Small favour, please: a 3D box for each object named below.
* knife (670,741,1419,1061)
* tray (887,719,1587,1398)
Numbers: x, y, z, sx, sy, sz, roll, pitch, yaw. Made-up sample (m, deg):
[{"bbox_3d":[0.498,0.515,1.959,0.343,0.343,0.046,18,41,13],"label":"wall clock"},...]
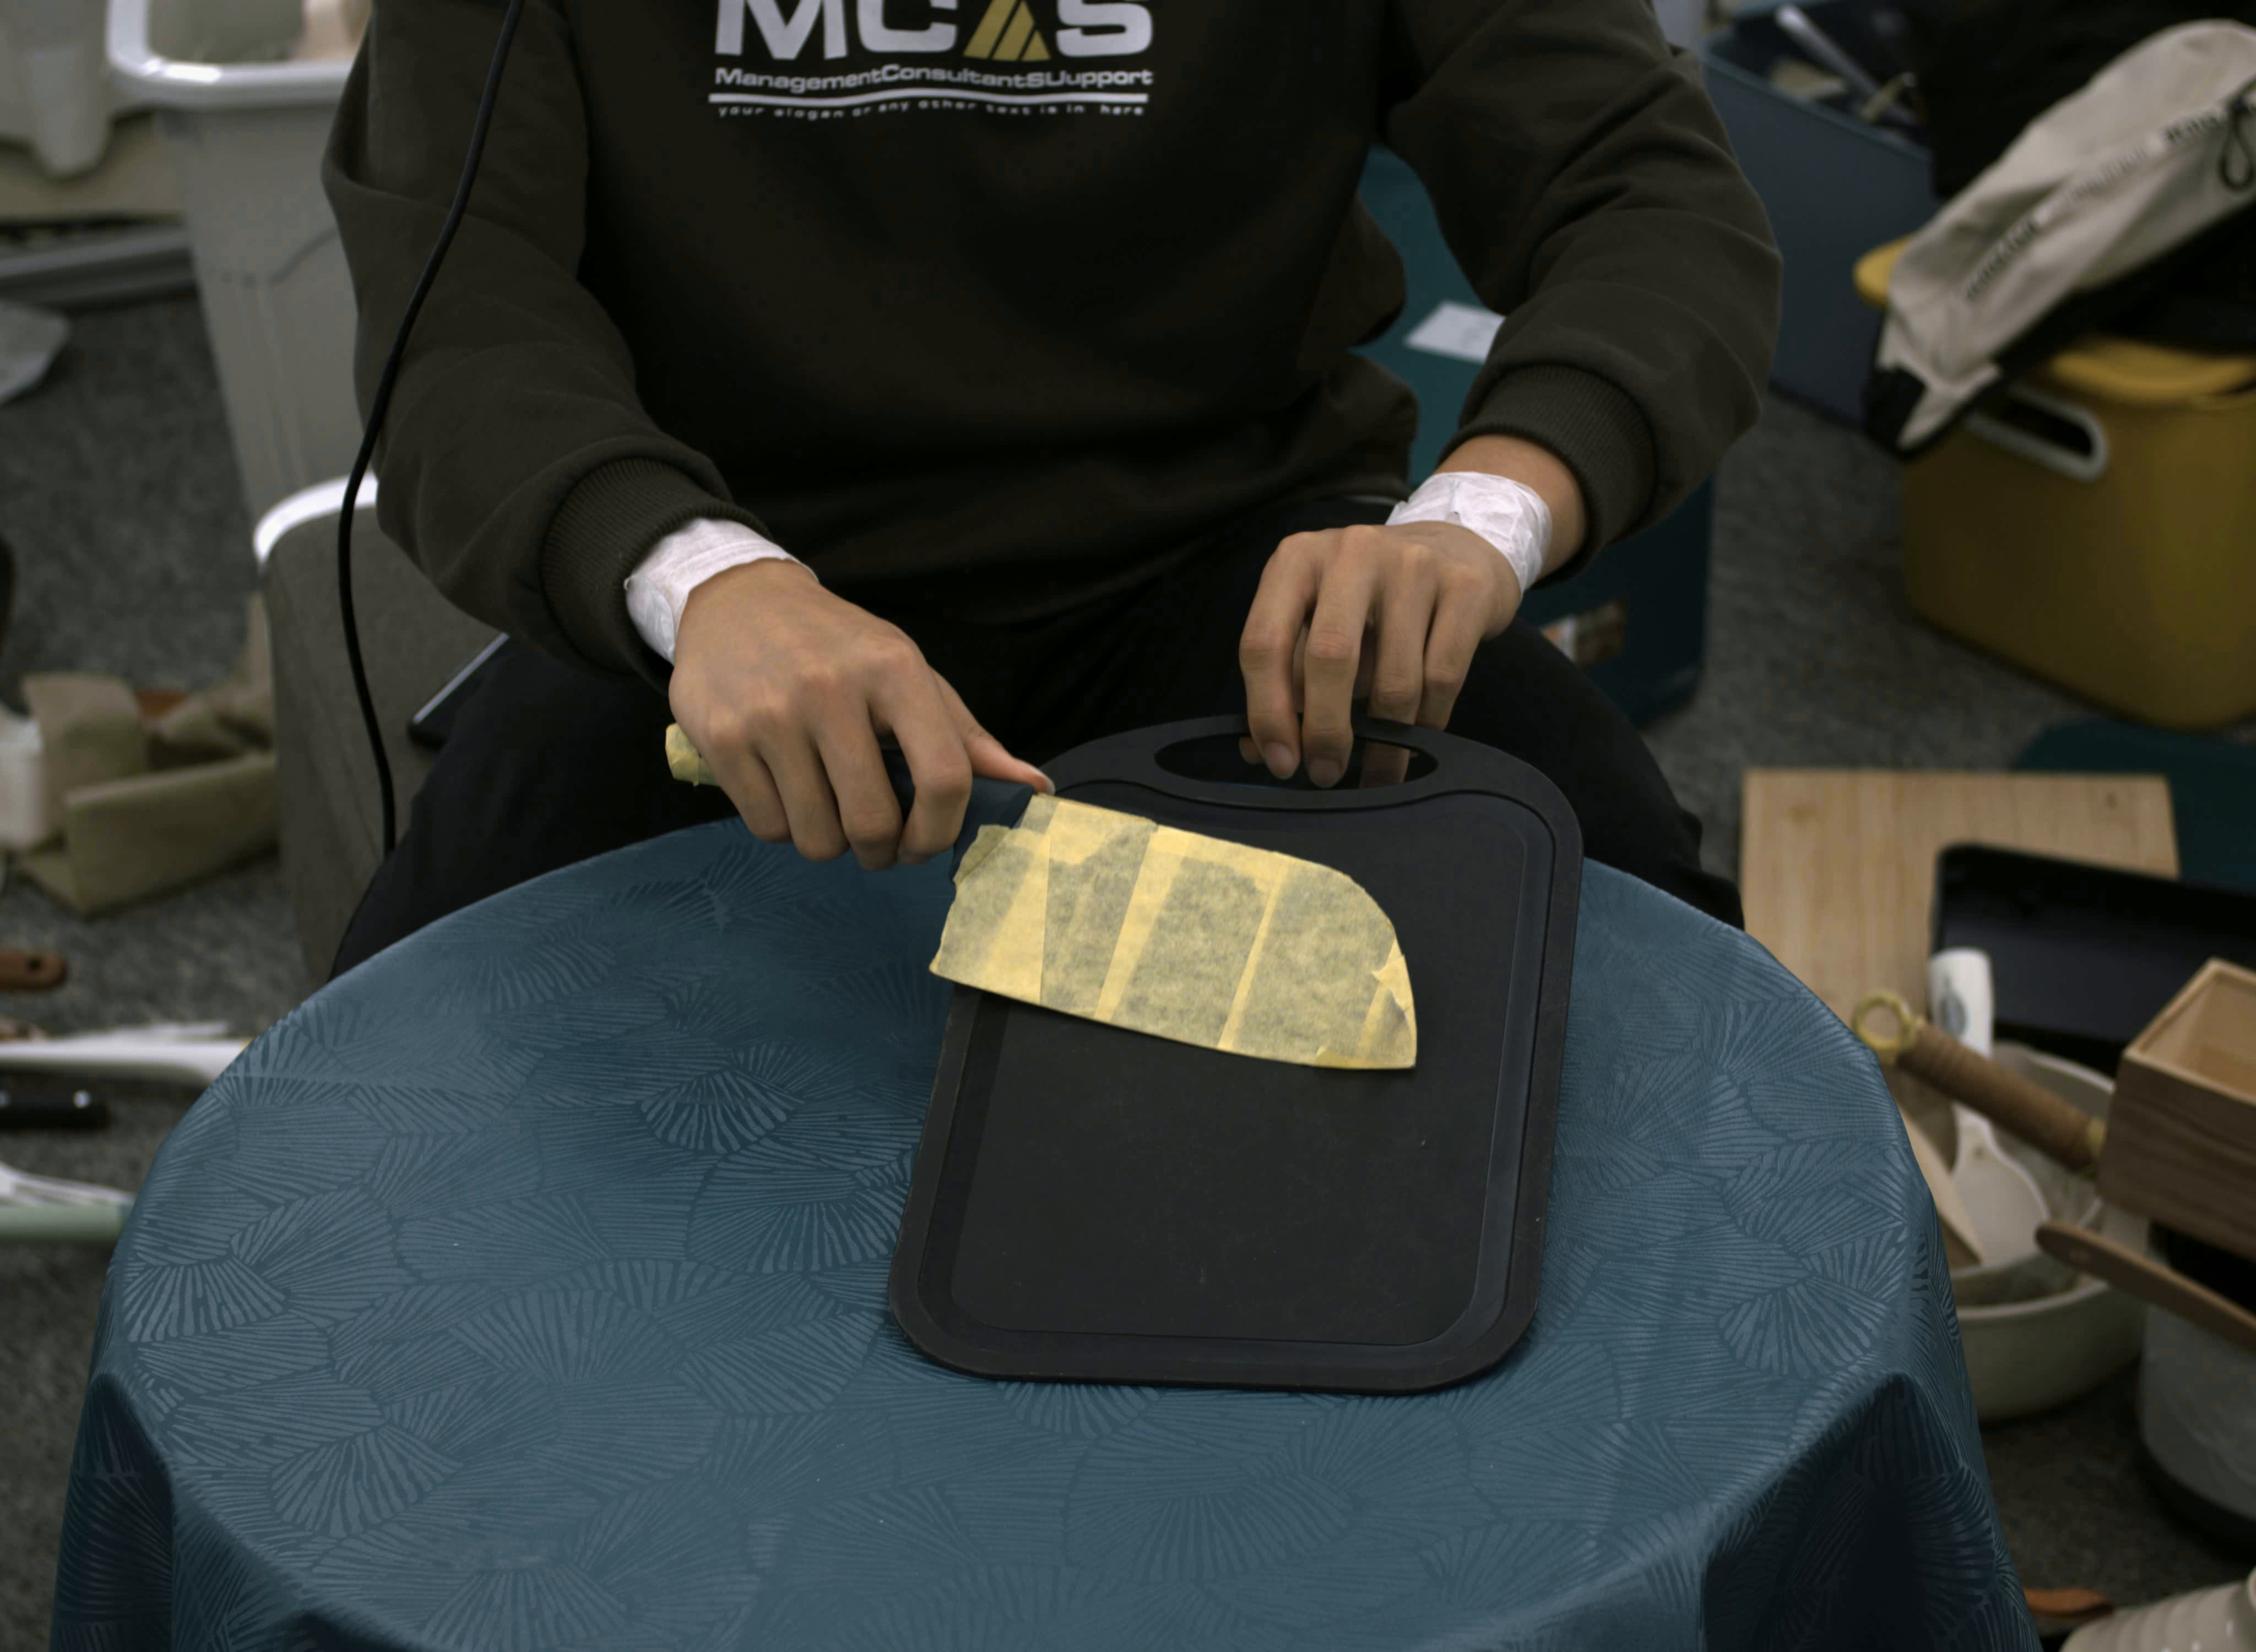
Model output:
[{"bbox_3d":[-0.033,0.024,1.911,0.288,0.027,0.082,16,70,21],"label":"knife"},{"bbox_3d":[0.041,0.068,1.877,0.210,0.009,0.332,2,40,8],"label":"tray"}]
